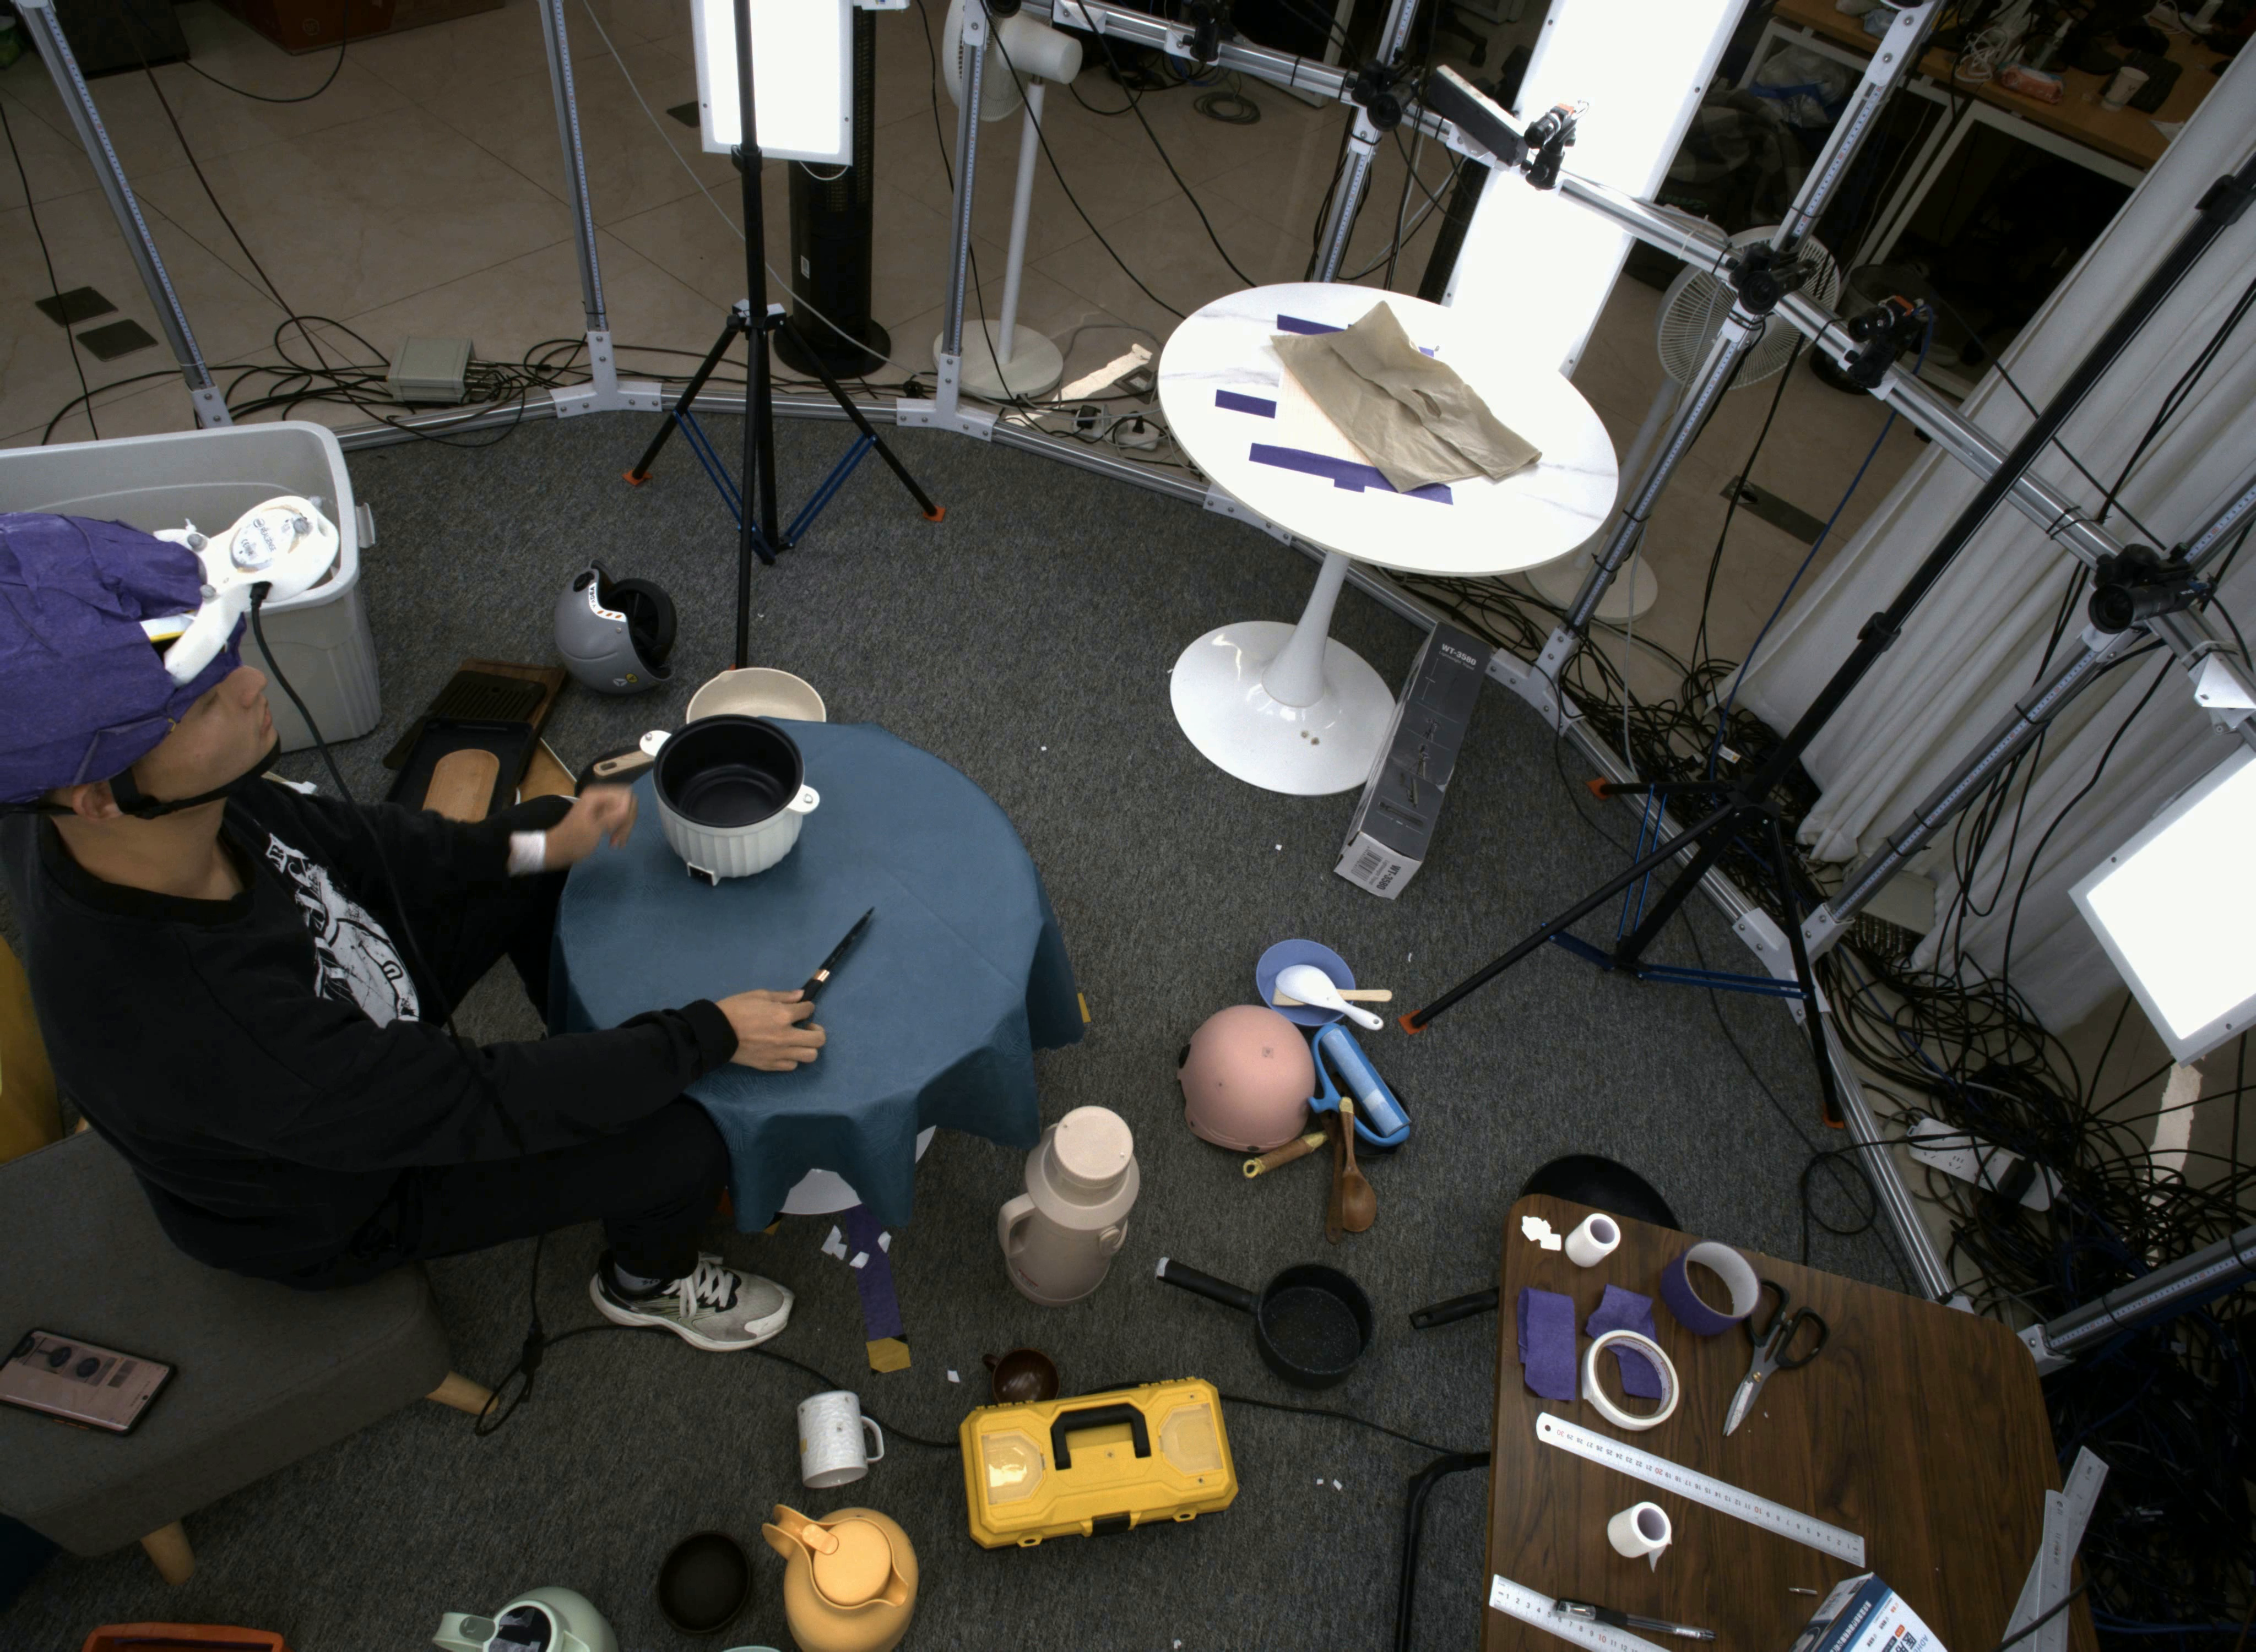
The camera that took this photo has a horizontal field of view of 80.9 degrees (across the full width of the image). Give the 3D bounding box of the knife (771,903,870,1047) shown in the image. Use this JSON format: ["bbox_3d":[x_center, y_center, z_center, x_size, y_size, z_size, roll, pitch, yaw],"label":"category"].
[{"bbox_3d":[-0.373,0.176,1.592,0.018,0.025,0.224,51,50,-27],"label":"knife"}]

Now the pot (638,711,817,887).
[{"bbox_3d":[-0.503,-0.037,1.638,0.238,0.145,0.189,20,54,1],"label":"pot"}]
